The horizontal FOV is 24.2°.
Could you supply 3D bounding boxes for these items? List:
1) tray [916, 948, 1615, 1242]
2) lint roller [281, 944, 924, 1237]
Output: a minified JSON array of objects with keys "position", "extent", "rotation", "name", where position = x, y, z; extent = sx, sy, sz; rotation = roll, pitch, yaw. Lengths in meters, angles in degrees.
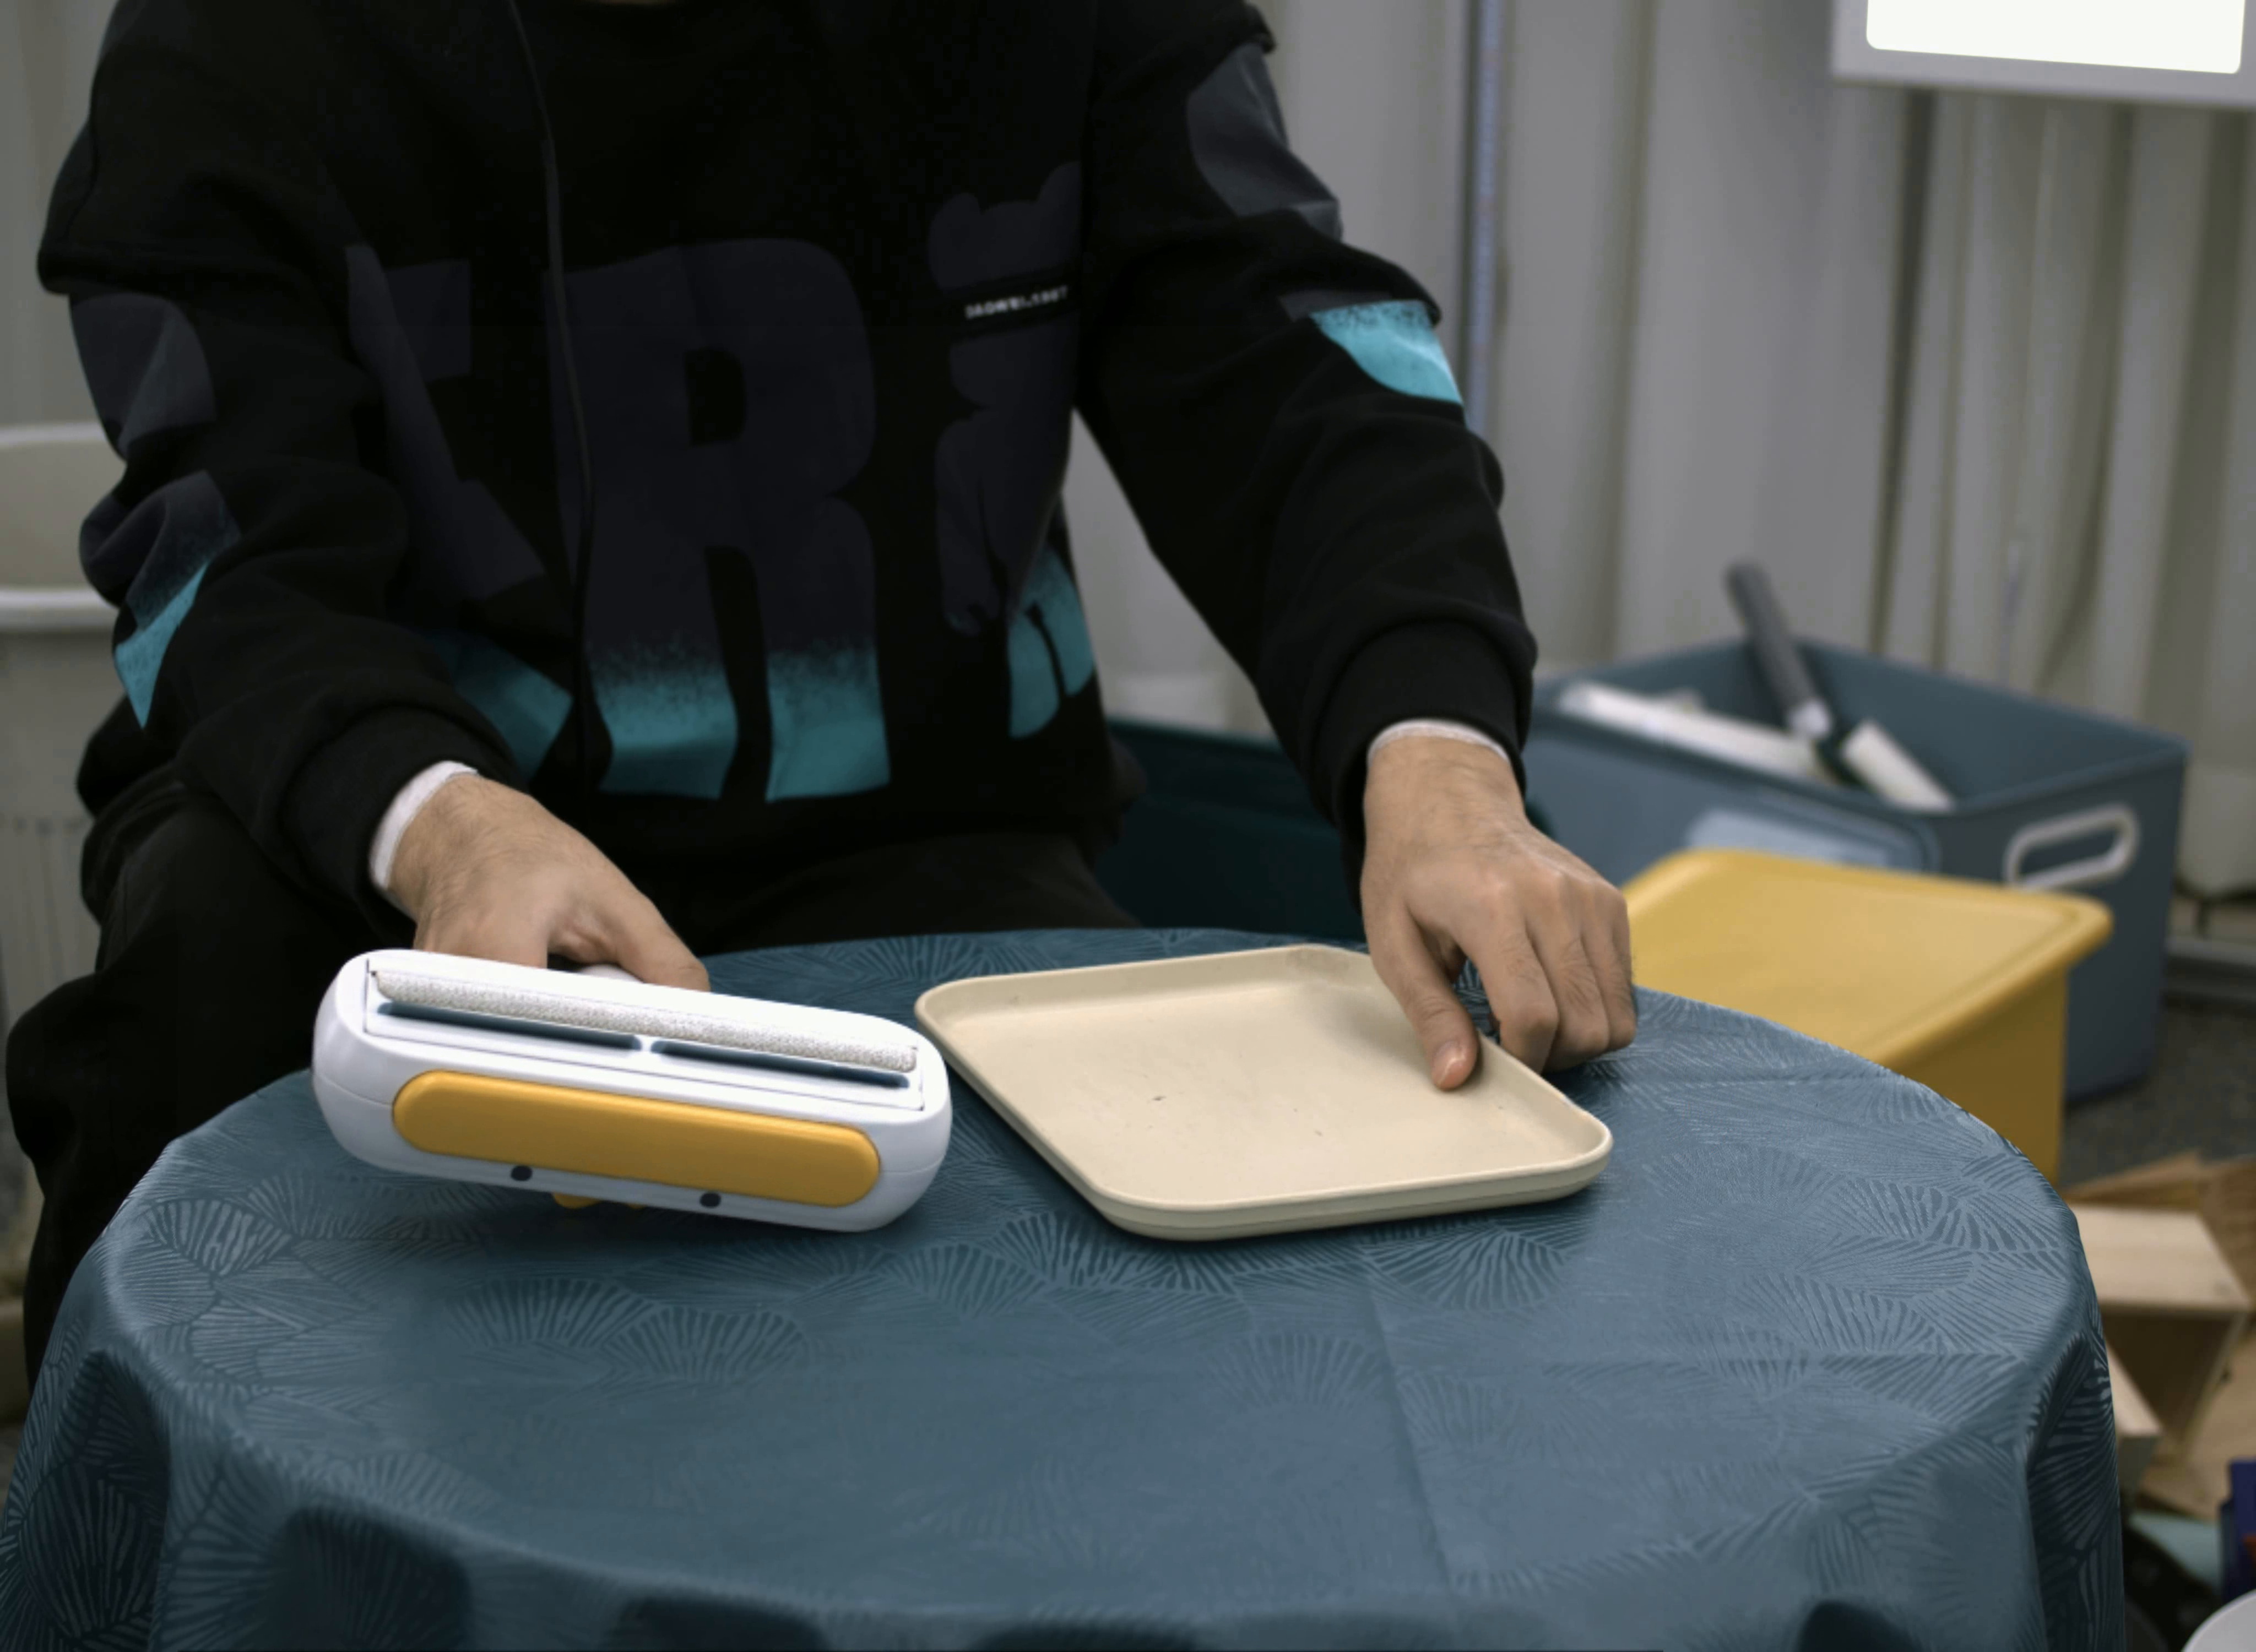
[{"position":[0.040,0.085,1.687],"extent":[0.171,0.017,0.237],"rotation":[-5,16,-19],"name":"tray"},{"position":[-0.161,0.065,1.631],"extent":[0.193,0.075,0.191],"rotation":[6,21,-7],"name":"lint roller"}]
